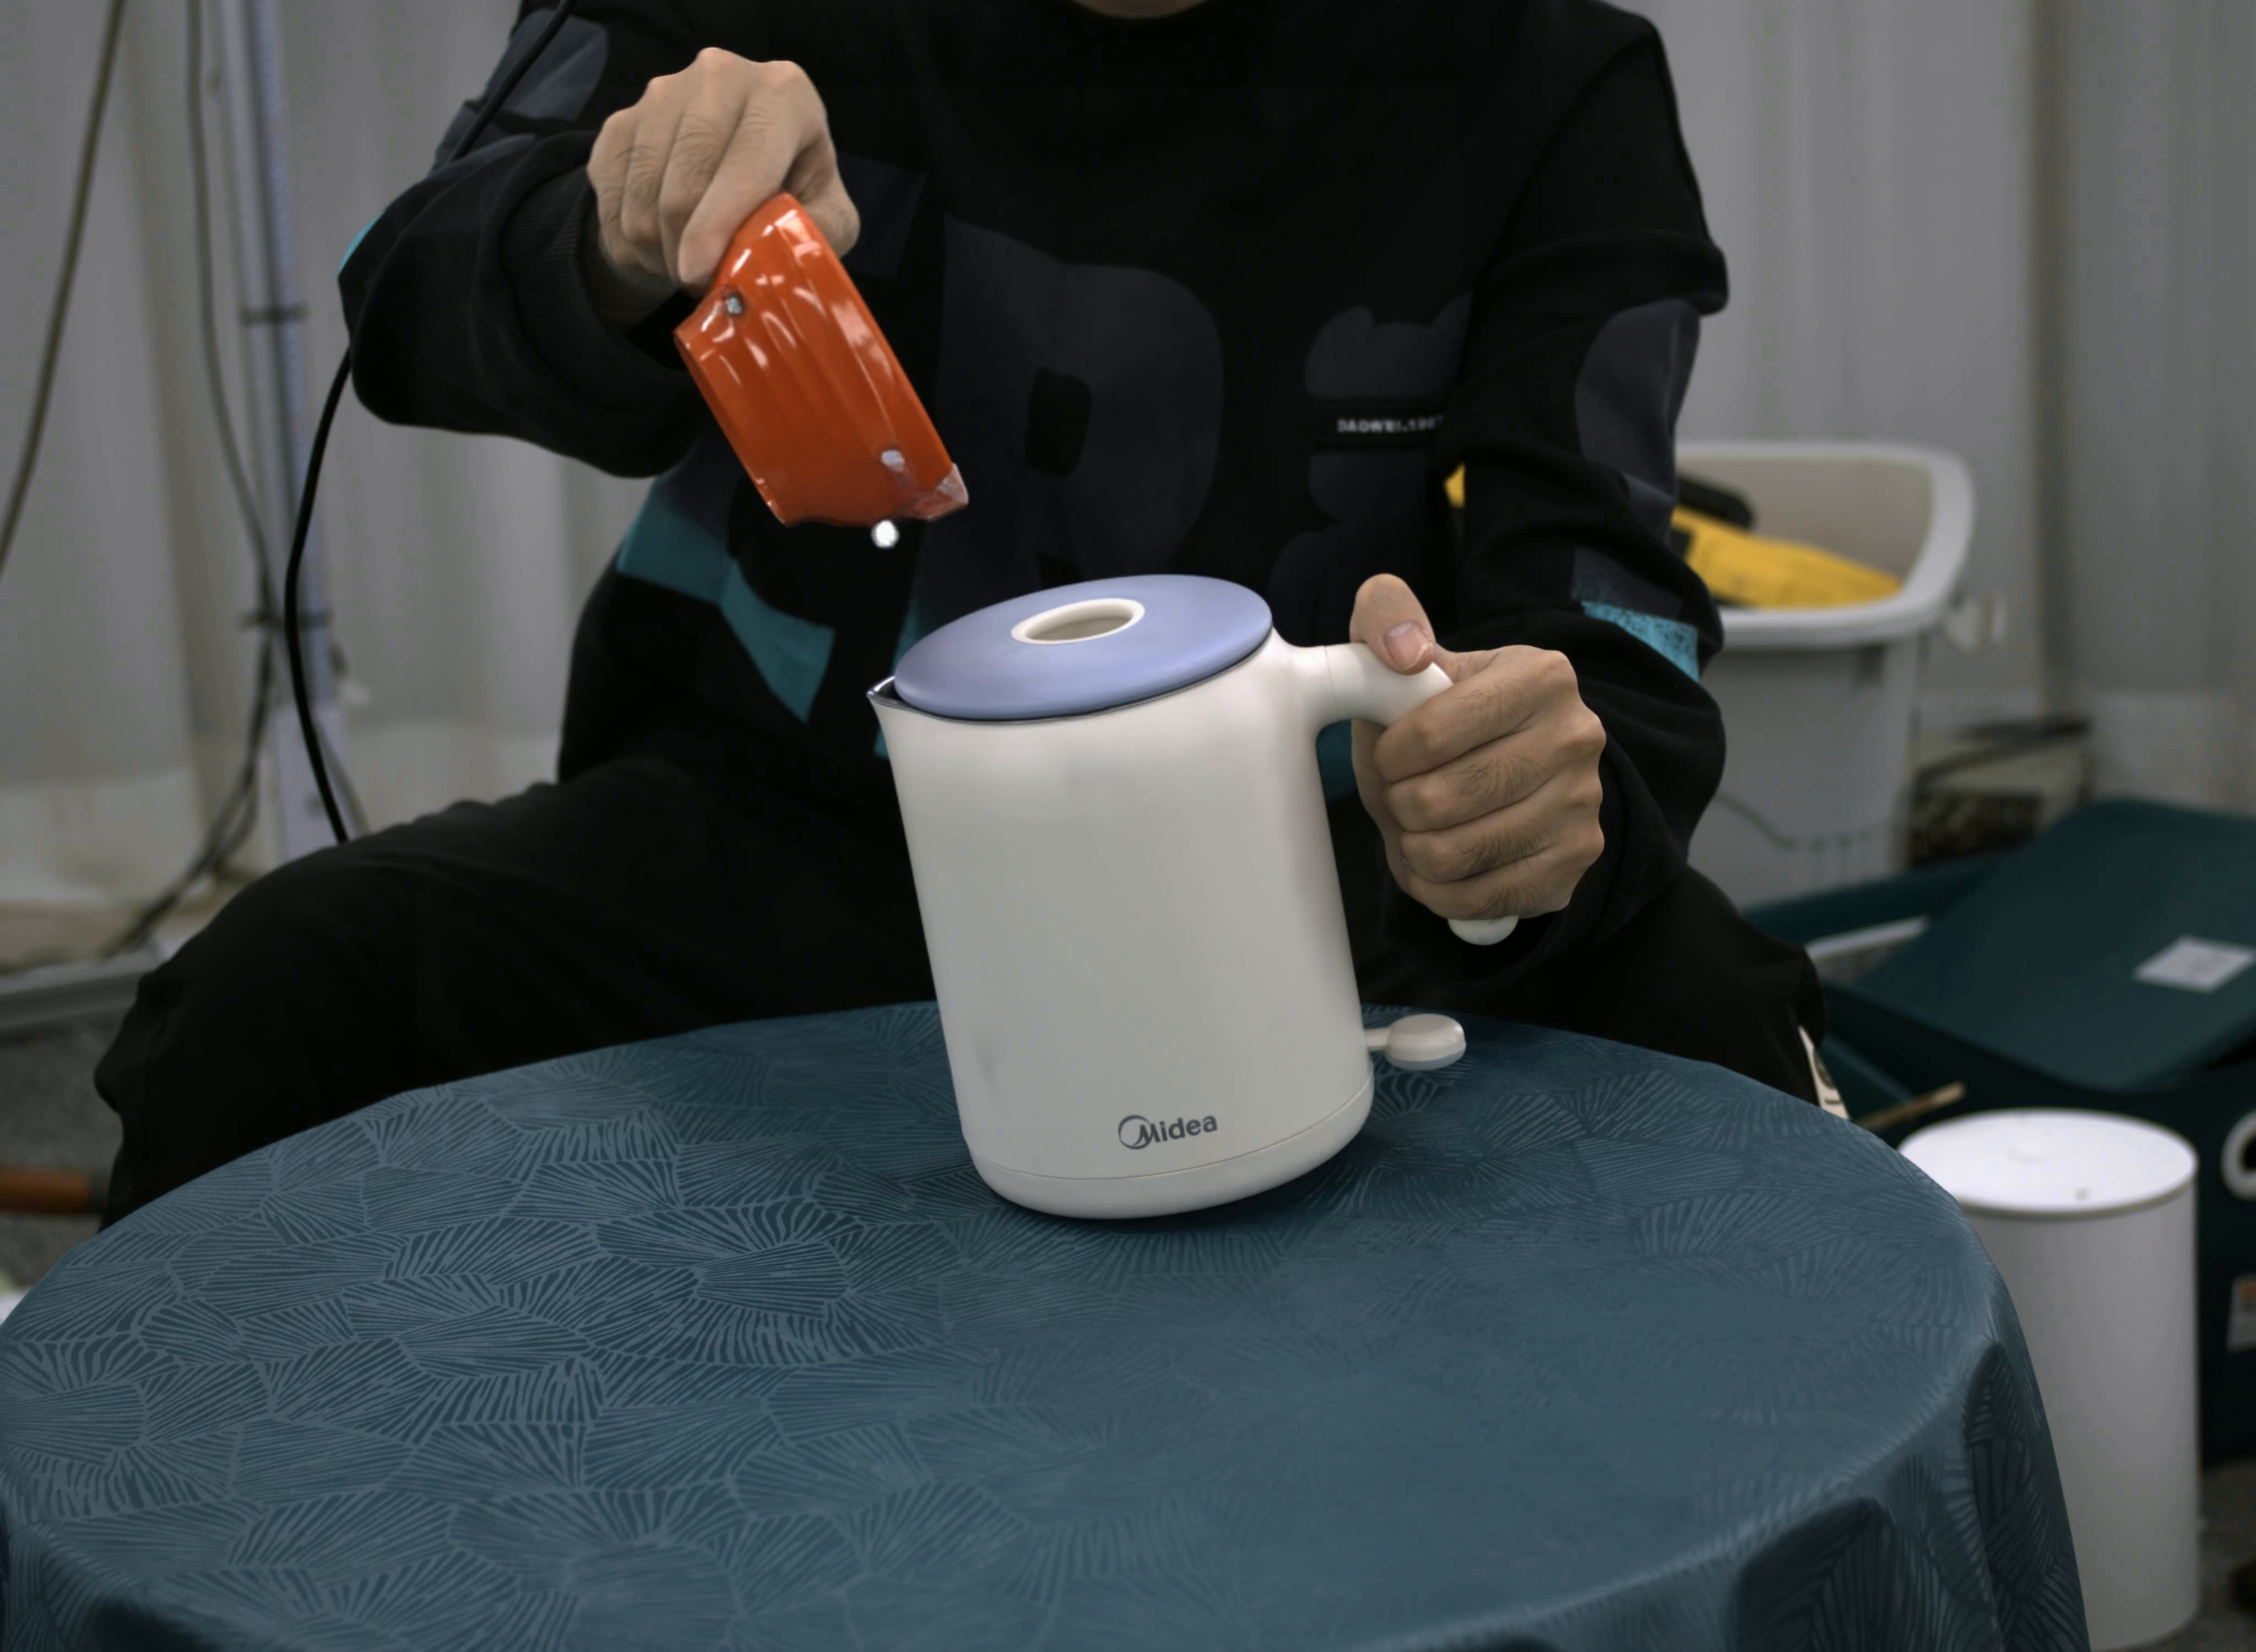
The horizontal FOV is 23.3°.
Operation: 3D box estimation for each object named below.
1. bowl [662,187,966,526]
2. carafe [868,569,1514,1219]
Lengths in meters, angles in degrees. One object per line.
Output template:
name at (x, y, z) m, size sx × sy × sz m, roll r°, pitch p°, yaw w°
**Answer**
bowl at (-0.100, -0.132, 1.644) m, size 0.051 × 0.118 × 0.120 m, roll -35°, pitch 17°, yaw 0°
carafe at (0.024, 0.017, 1.706) m, size 0.190 × 0.181 × 0.133 m, roll -8°, pitch 19°, yaw 0°
